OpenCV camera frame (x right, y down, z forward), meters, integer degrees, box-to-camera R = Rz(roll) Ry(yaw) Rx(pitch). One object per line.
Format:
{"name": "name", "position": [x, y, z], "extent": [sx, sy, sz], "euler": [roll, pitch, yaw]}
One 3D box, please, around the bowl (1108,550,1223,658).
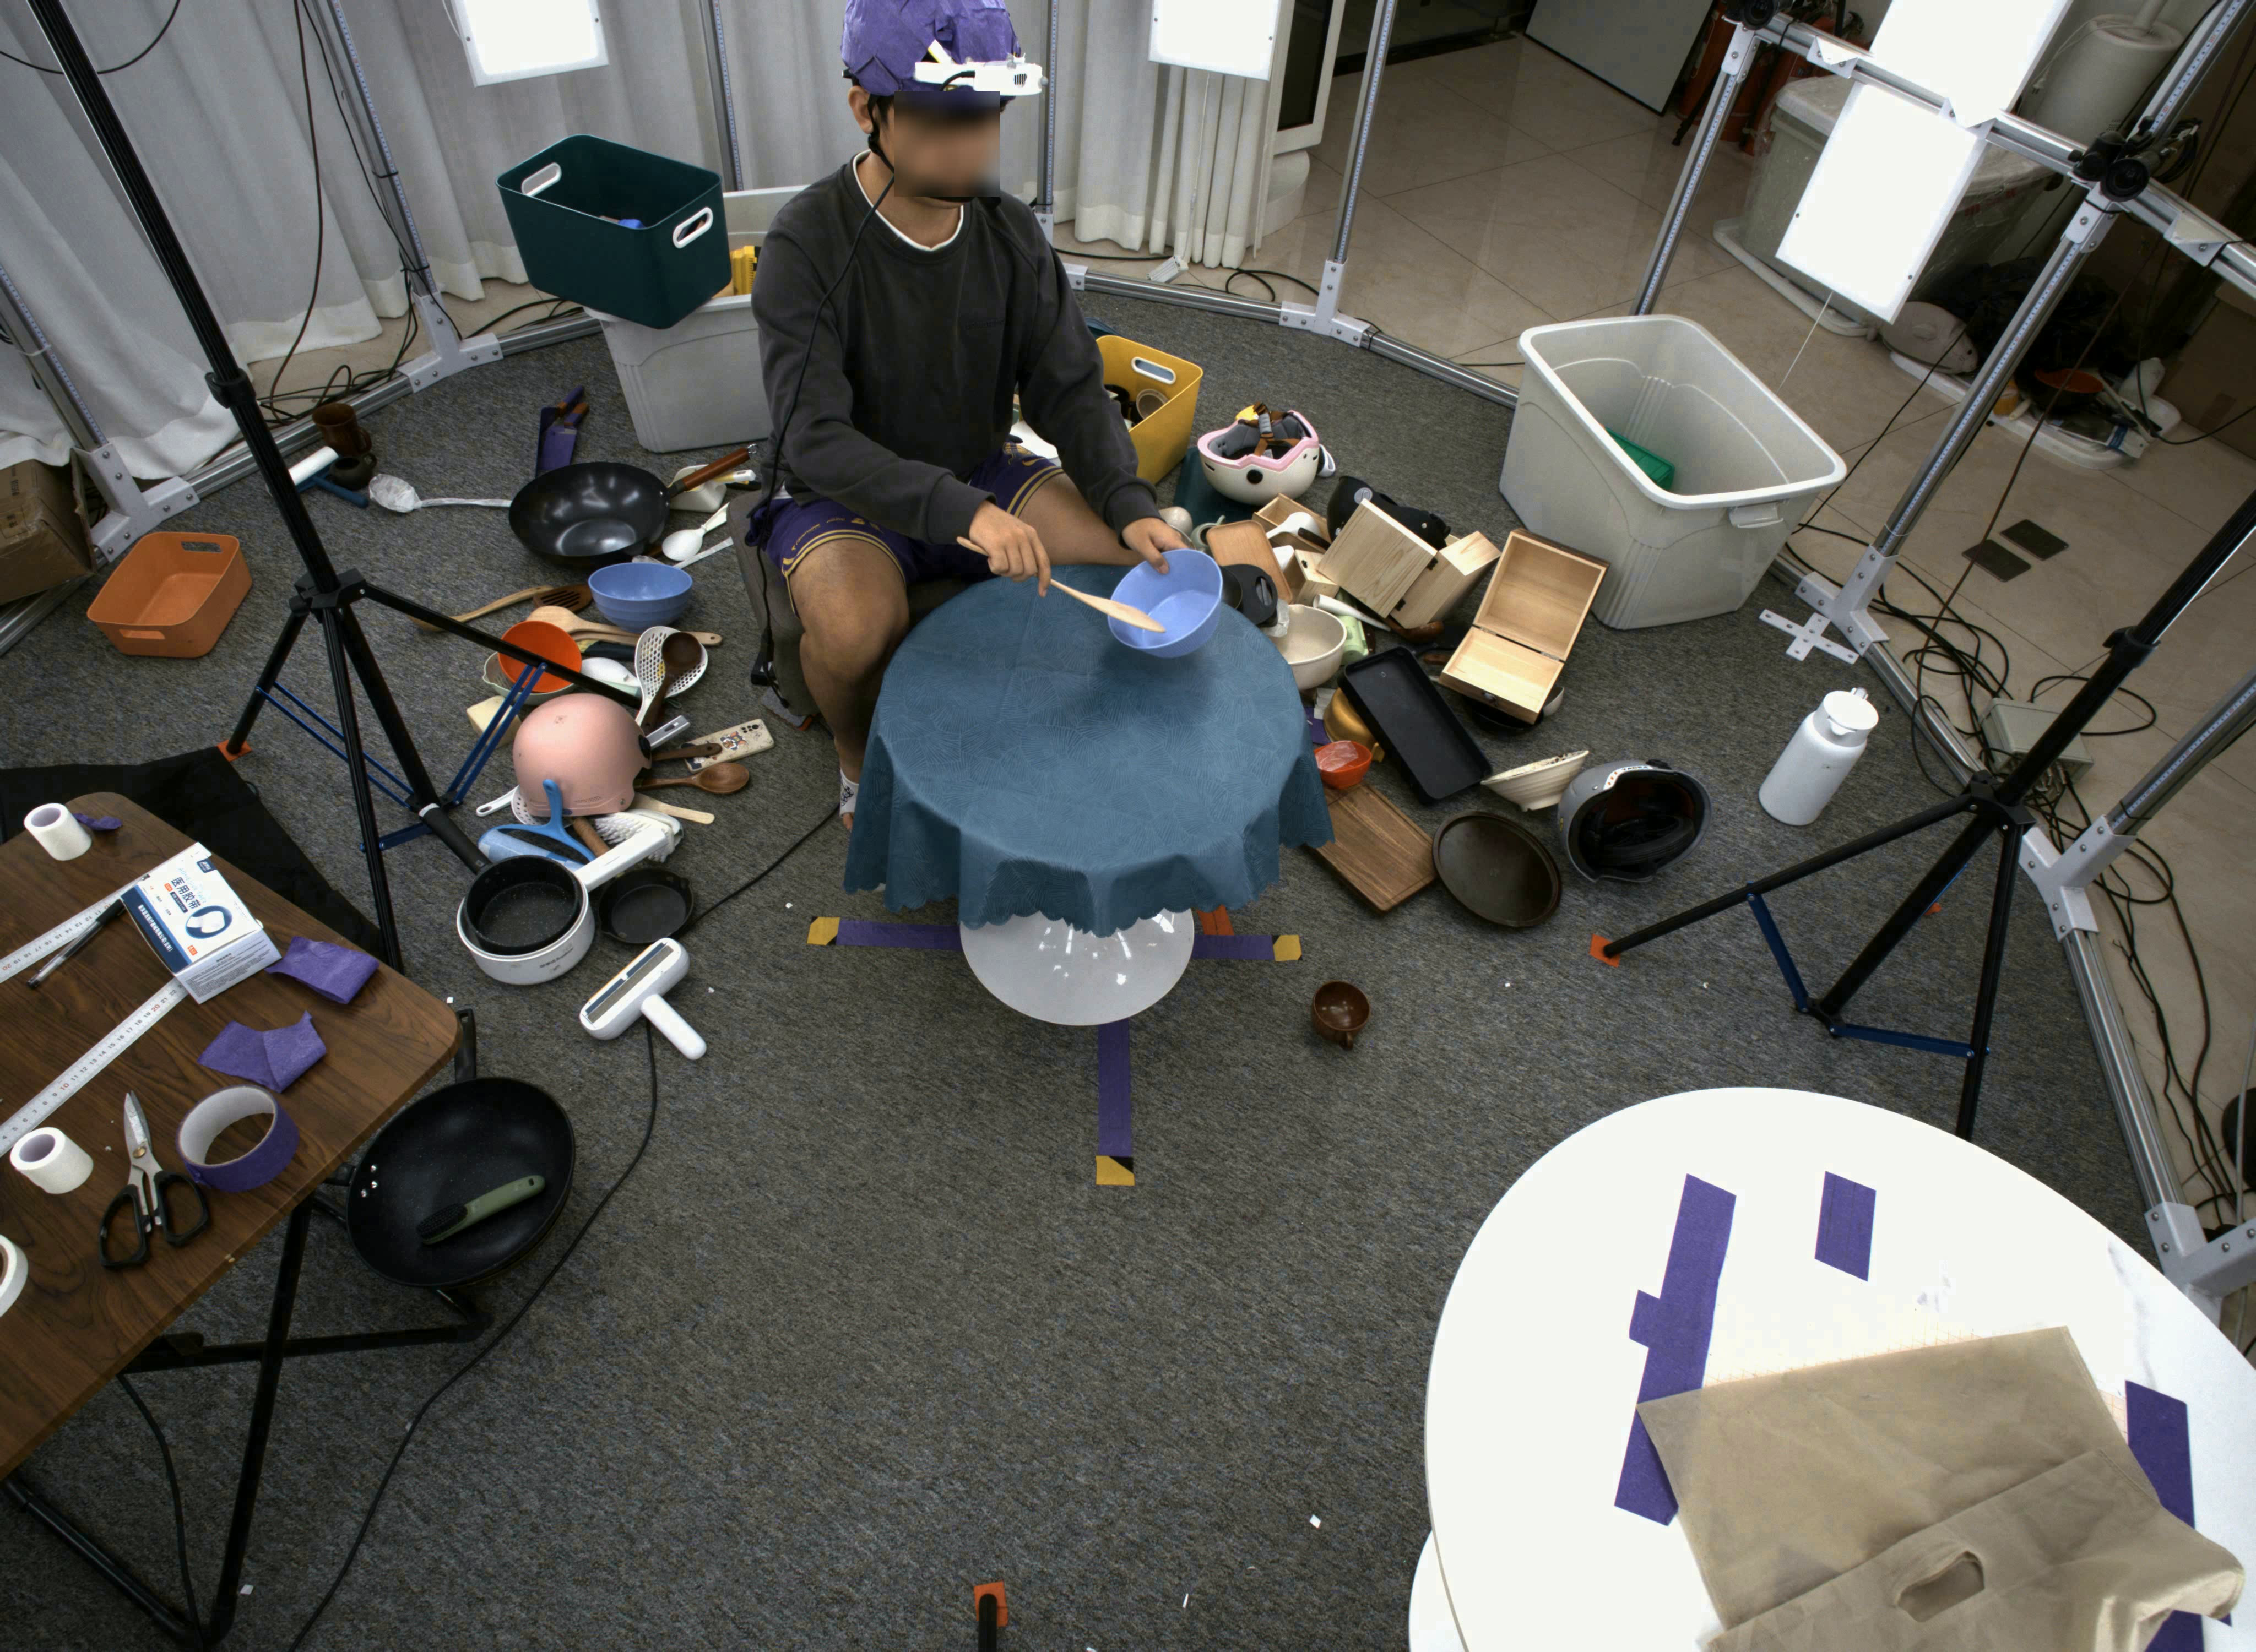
{"name": "bowl", "position": [0.065, -0.307, 1.840], "extent": [0.176, 0.069, 0.180], "euler": [-14, 53, 20]}

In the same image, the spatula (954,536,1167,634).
{"name": "spatula", "position": [-0.090, -0.325, 1.727], "extent": [0.324, 0.016, 0.082], "euler": [19, 22, -33]}
